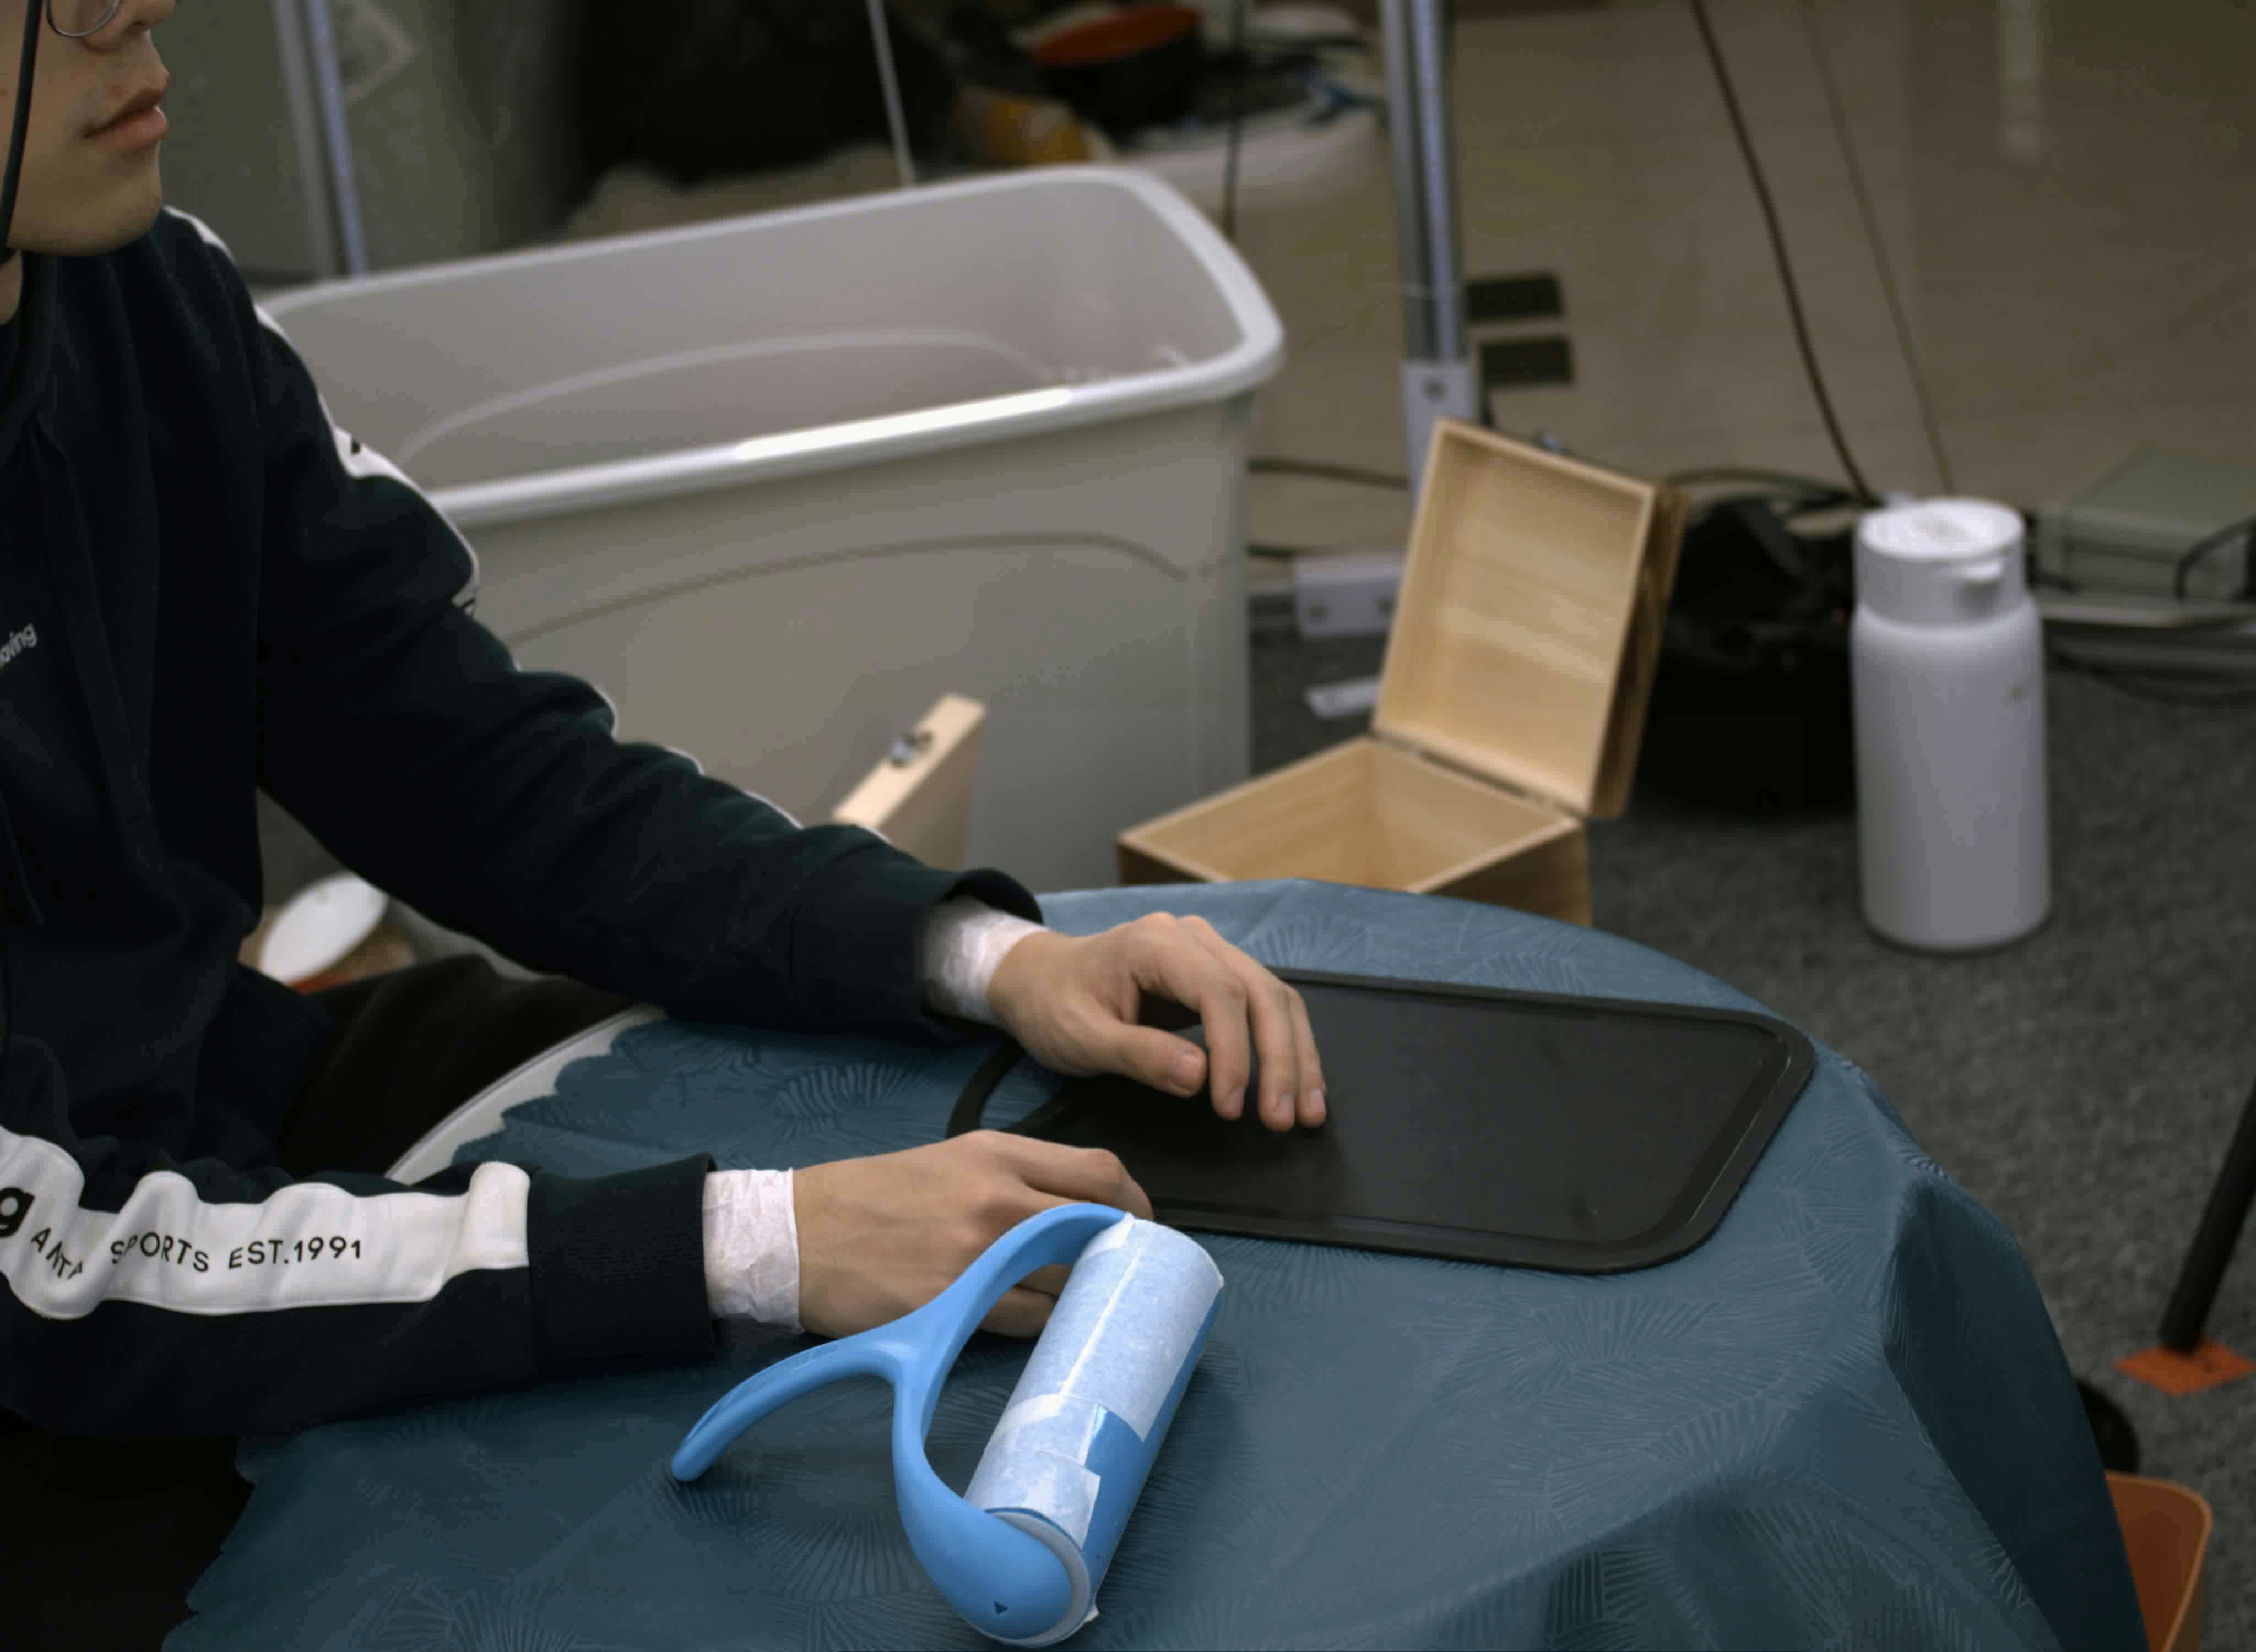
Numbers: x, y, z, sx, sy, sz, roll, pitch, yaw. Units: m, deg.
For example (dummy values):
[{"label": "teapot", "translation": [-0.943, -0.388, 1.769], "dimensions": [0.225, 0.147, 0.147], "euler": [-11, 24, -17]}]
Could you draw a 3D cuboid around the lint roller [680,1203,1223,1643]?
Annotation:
[{"label": "lint roller", "translation": [-0.072, 0.203, 1.956], "dimensions": [0.180, 0.069, 0.225], "euler": [0, 28, 12]}]

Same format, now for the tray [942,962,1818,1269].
[{"label": "tray", "translation": [0.090, 0.107, 2.183], "dimensions": [0.324, 0.010, 0.208], "euler": [5, 27, 24]}]
